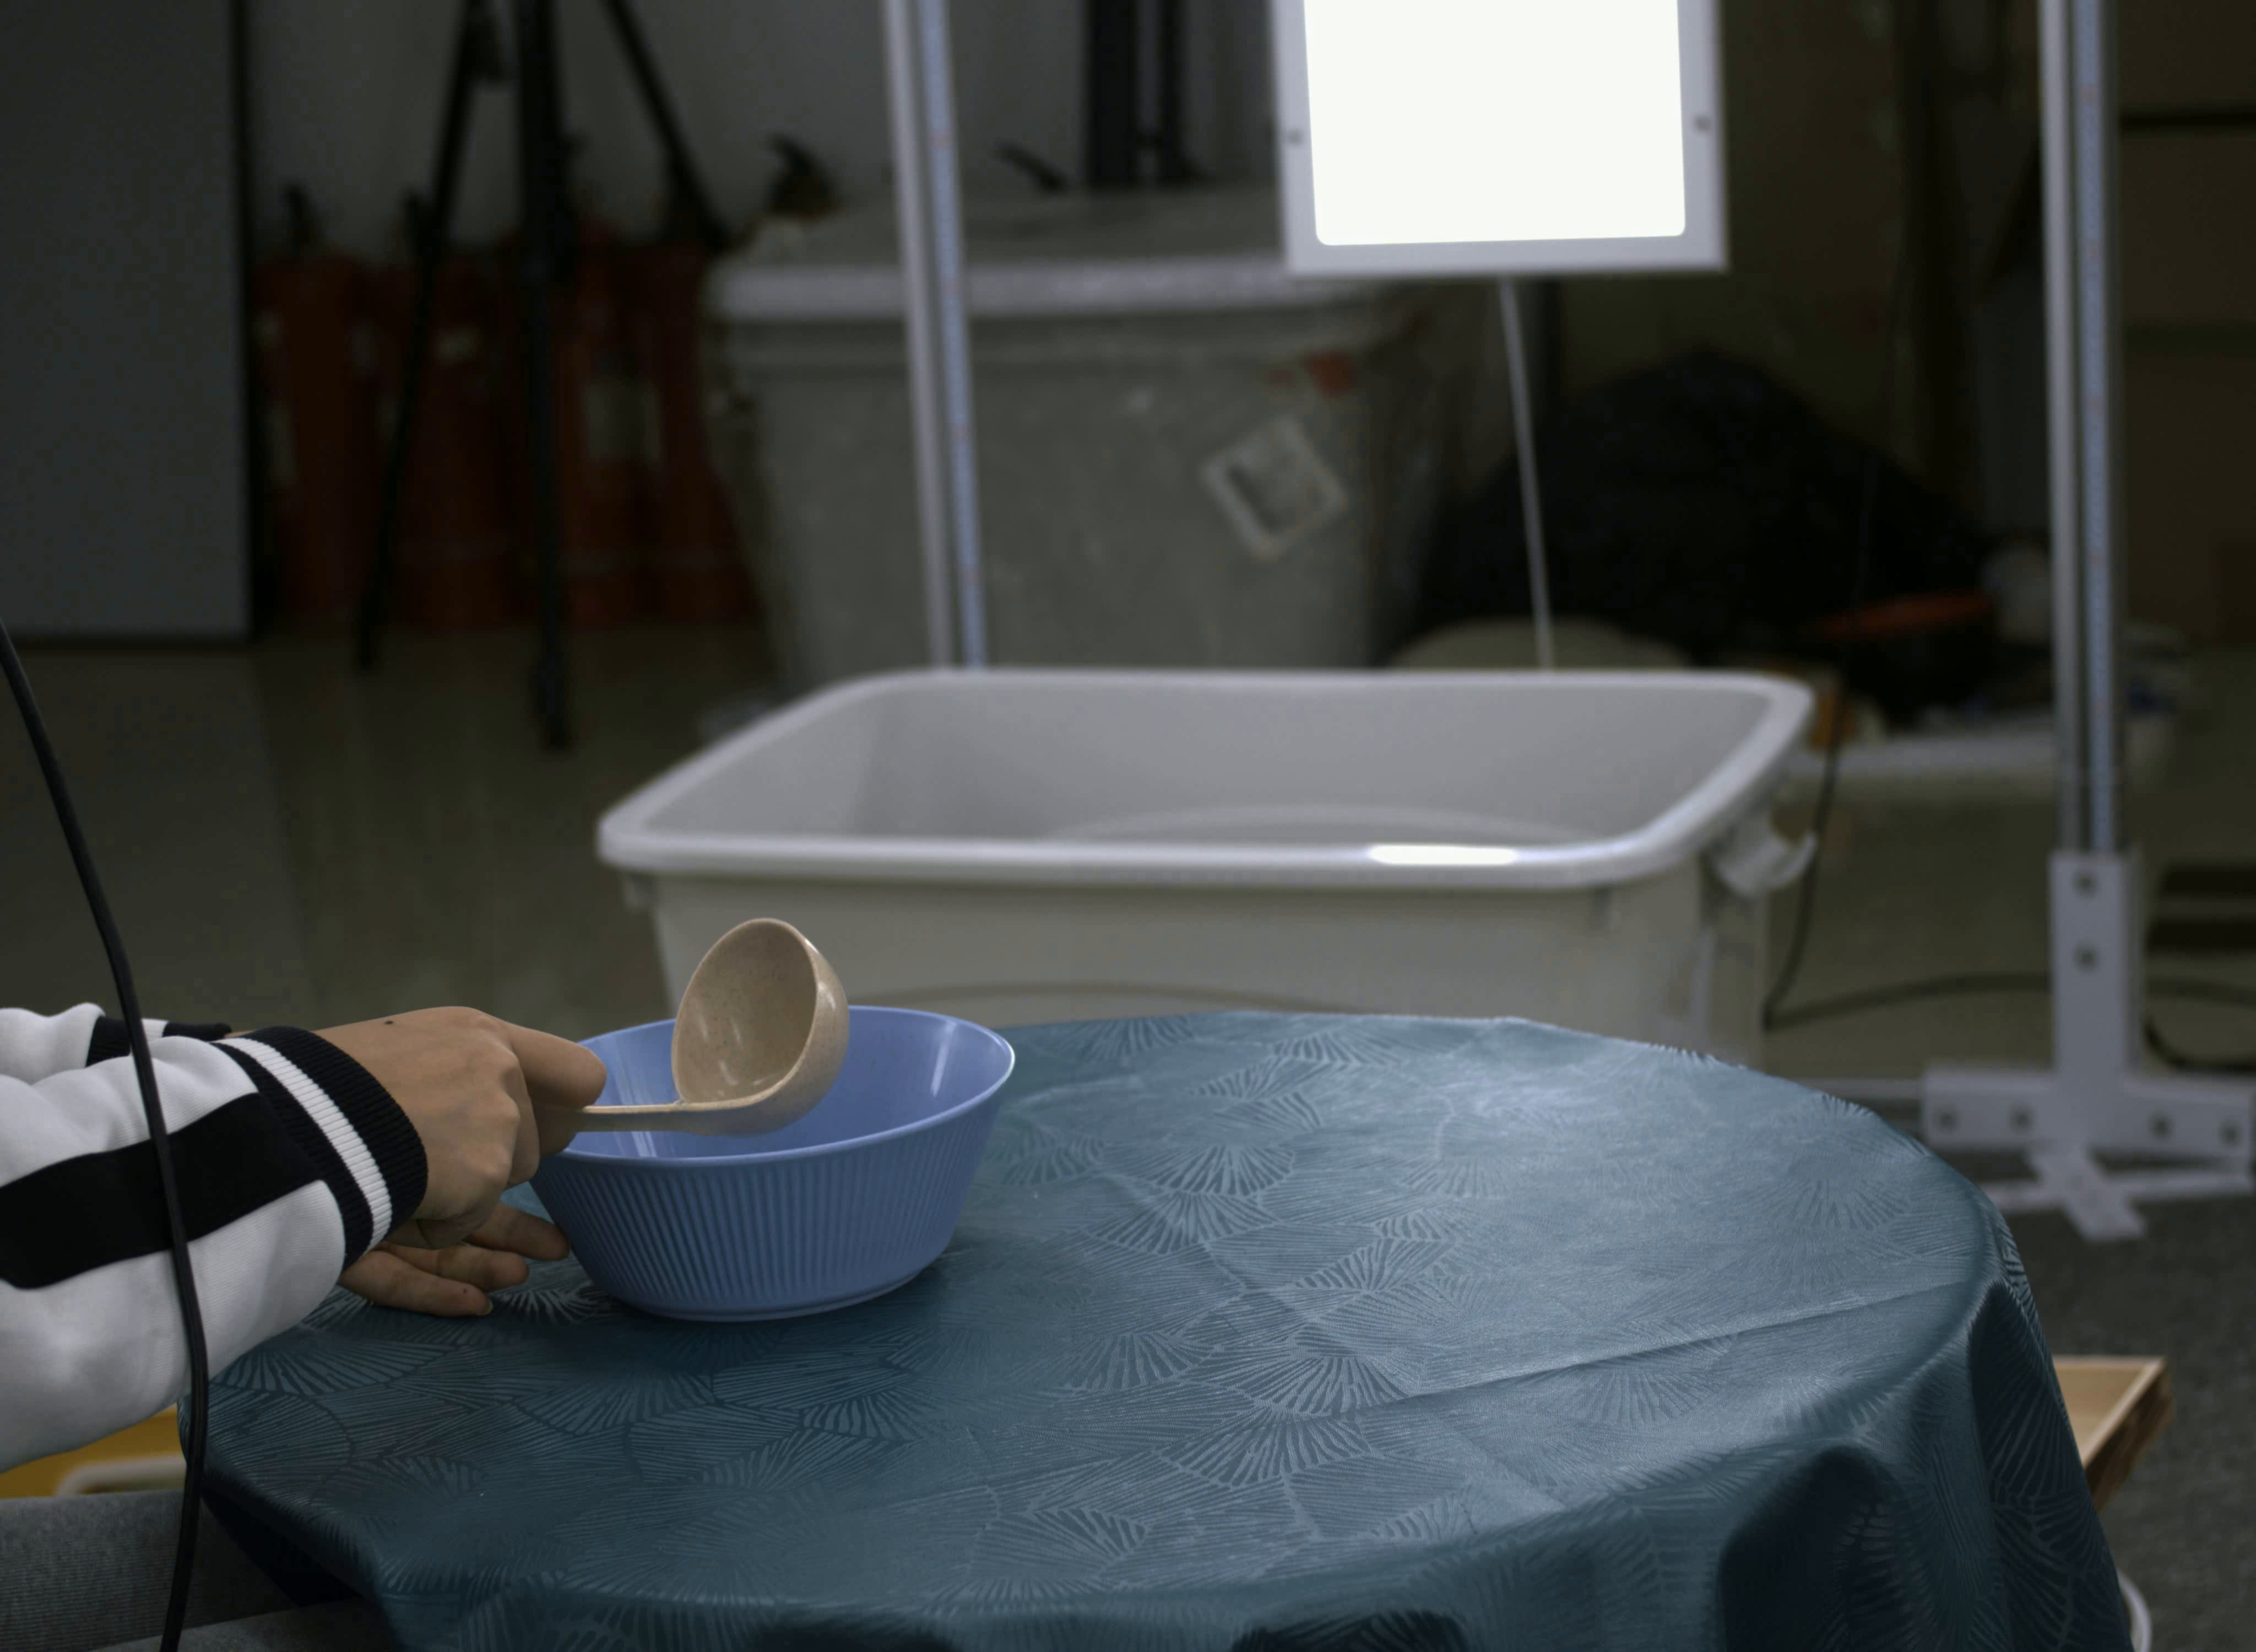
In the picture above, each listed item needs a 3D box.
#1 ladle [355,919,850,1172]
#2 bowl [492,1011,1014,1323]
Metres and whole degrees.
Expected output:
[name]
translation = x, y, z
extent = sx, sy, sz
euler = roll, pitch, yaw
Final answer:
[ladle]
translation = -0.177, 0.068, 1.743
extent = 0.073, 0.073, 0.248
euler = -38, -19, 26
[bowl]
translation = -0.122, 0.116, 1.839
extent = 0.175, 0.070, 0.176
euler = -5, 13, 0
